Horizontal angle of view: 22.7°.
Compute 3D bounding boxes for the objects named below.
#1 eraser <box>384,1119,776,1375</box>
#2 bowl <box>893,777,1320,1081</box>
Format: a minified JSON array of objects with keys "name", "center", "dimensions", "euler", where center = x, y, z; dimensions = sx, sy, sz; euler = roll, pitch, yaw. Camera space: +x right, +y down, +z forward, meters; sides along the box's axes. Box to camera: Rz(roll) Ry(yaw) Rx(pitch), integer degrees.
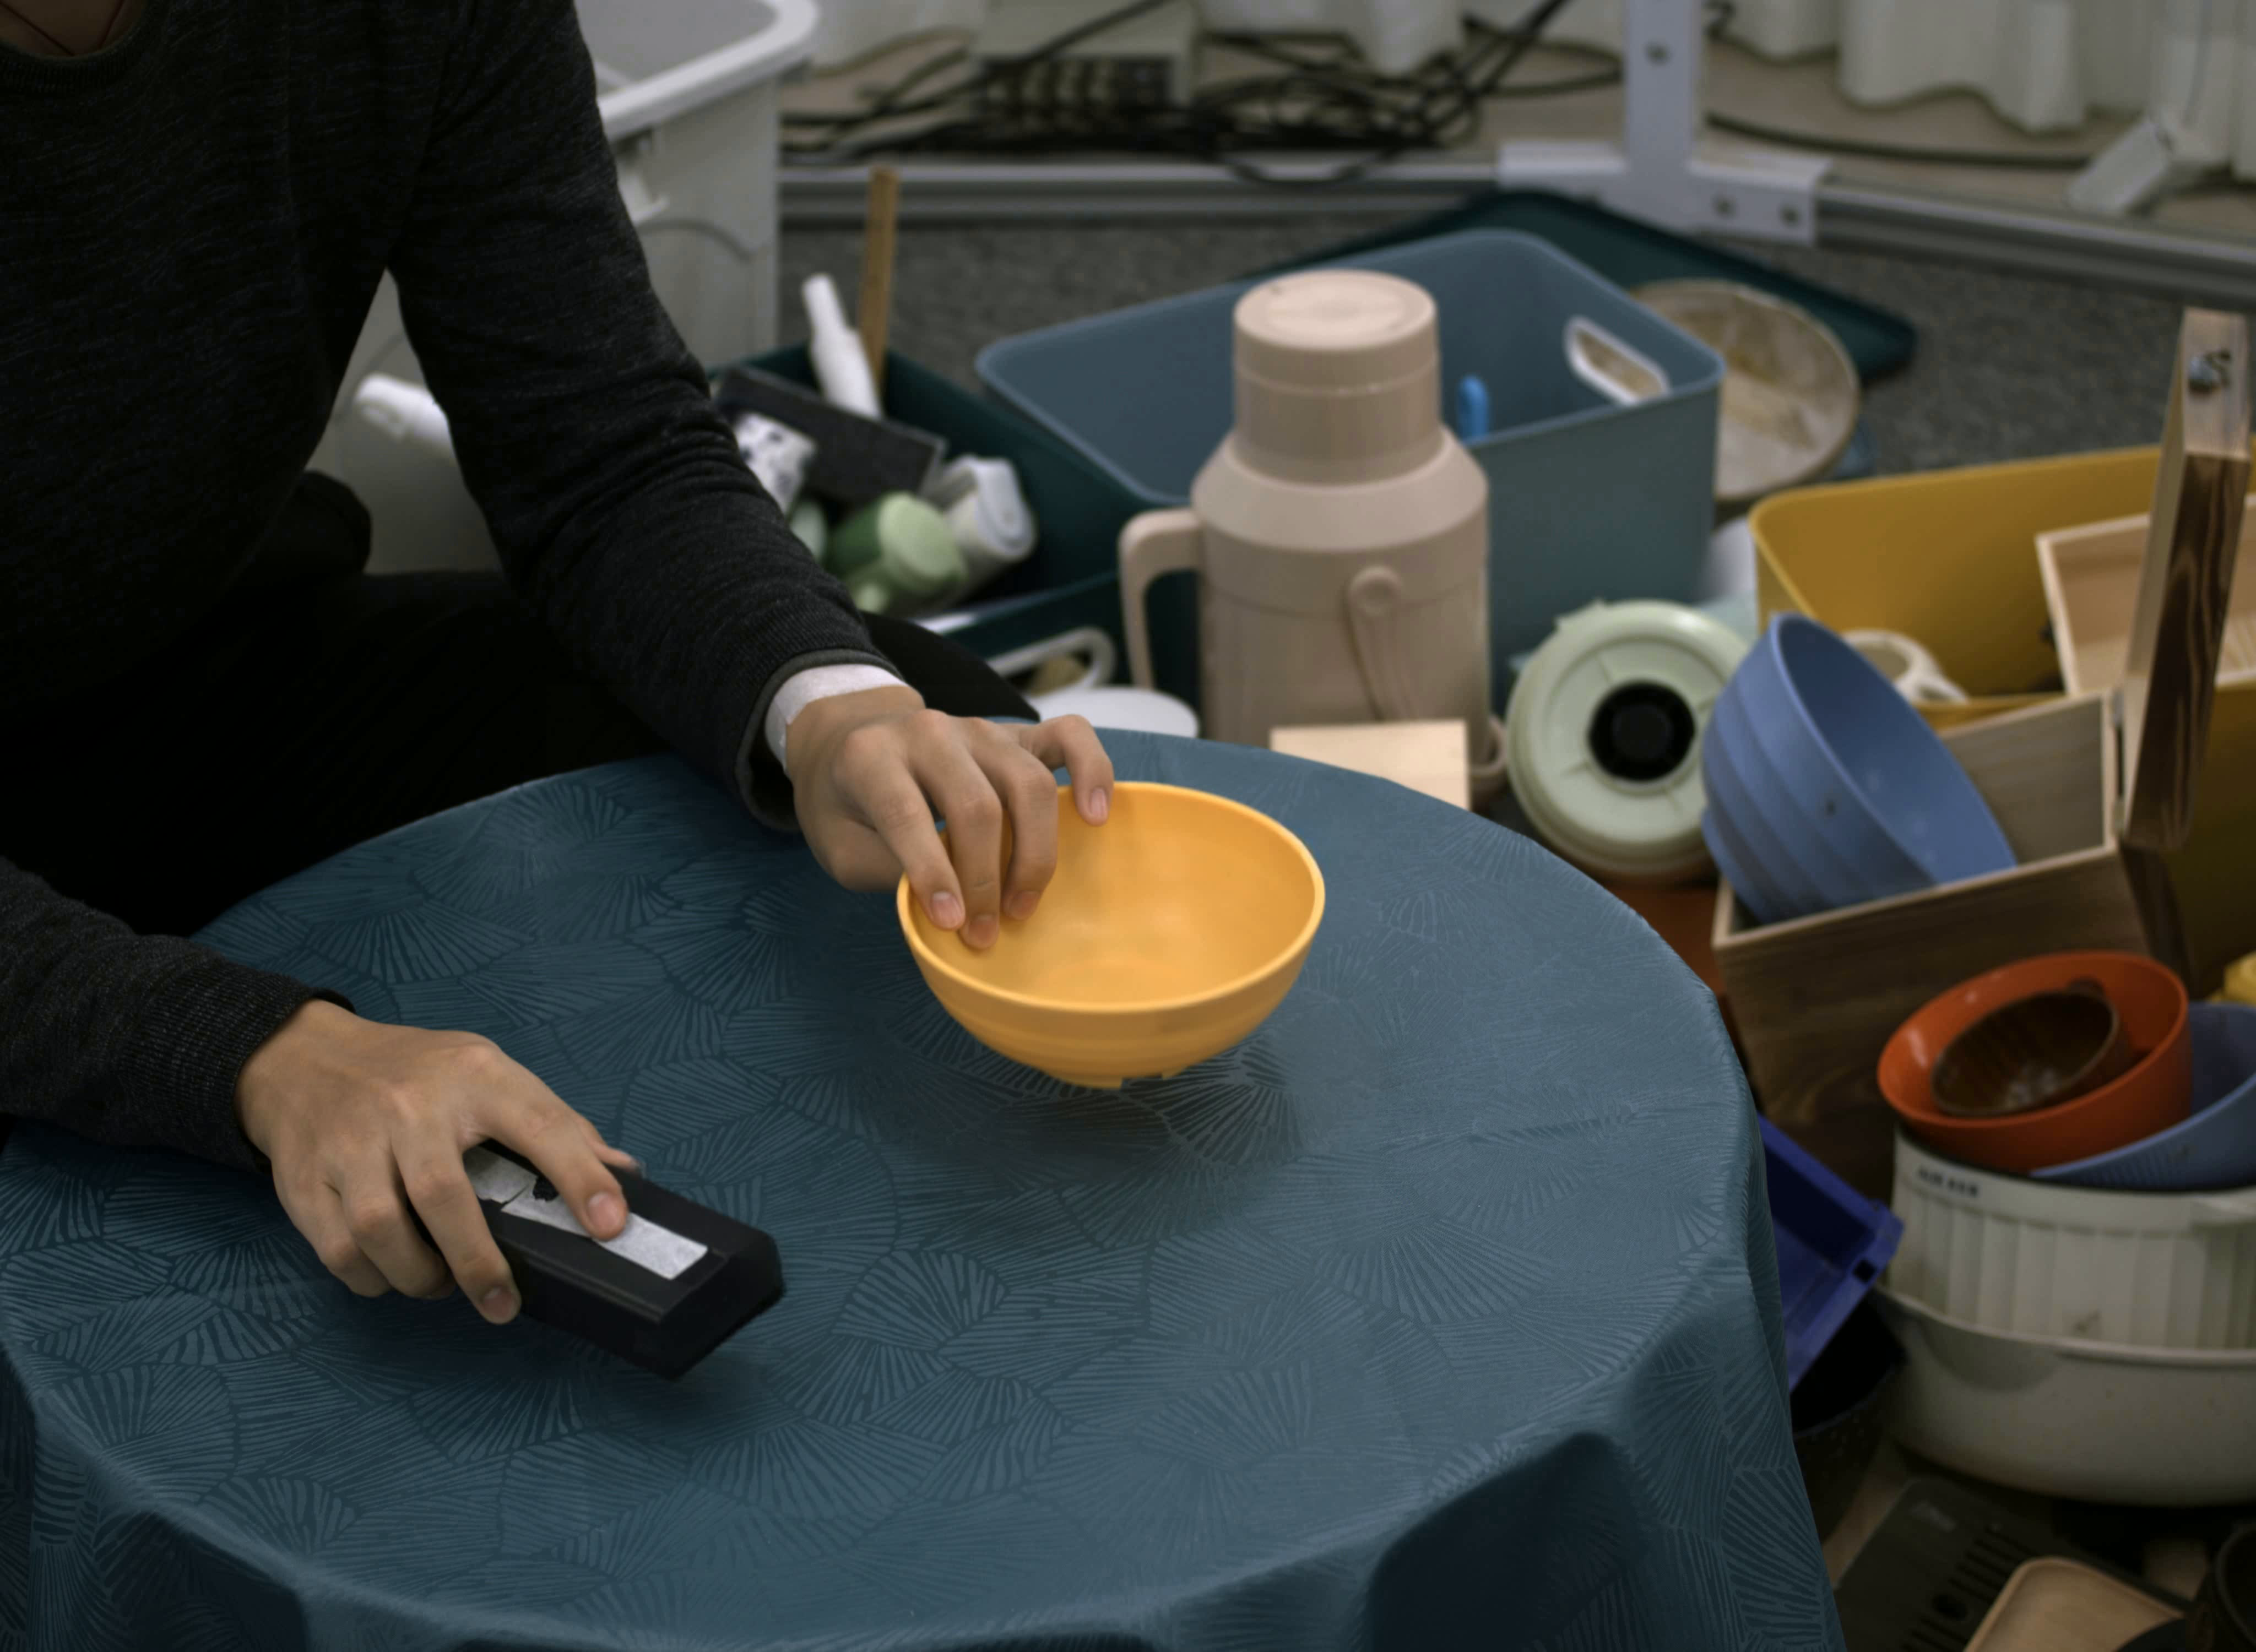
[{"name":"eraser","center":[-0.172,0.132,1.772],"dimensions":[0.125,0.030,0.054],"euler":[18,41,34]},{"name":"bowl","center":[-0.008,0.044,1.908],"dimensions":[0.144,0.059,0.147],"euler":[1,29,0]}]
